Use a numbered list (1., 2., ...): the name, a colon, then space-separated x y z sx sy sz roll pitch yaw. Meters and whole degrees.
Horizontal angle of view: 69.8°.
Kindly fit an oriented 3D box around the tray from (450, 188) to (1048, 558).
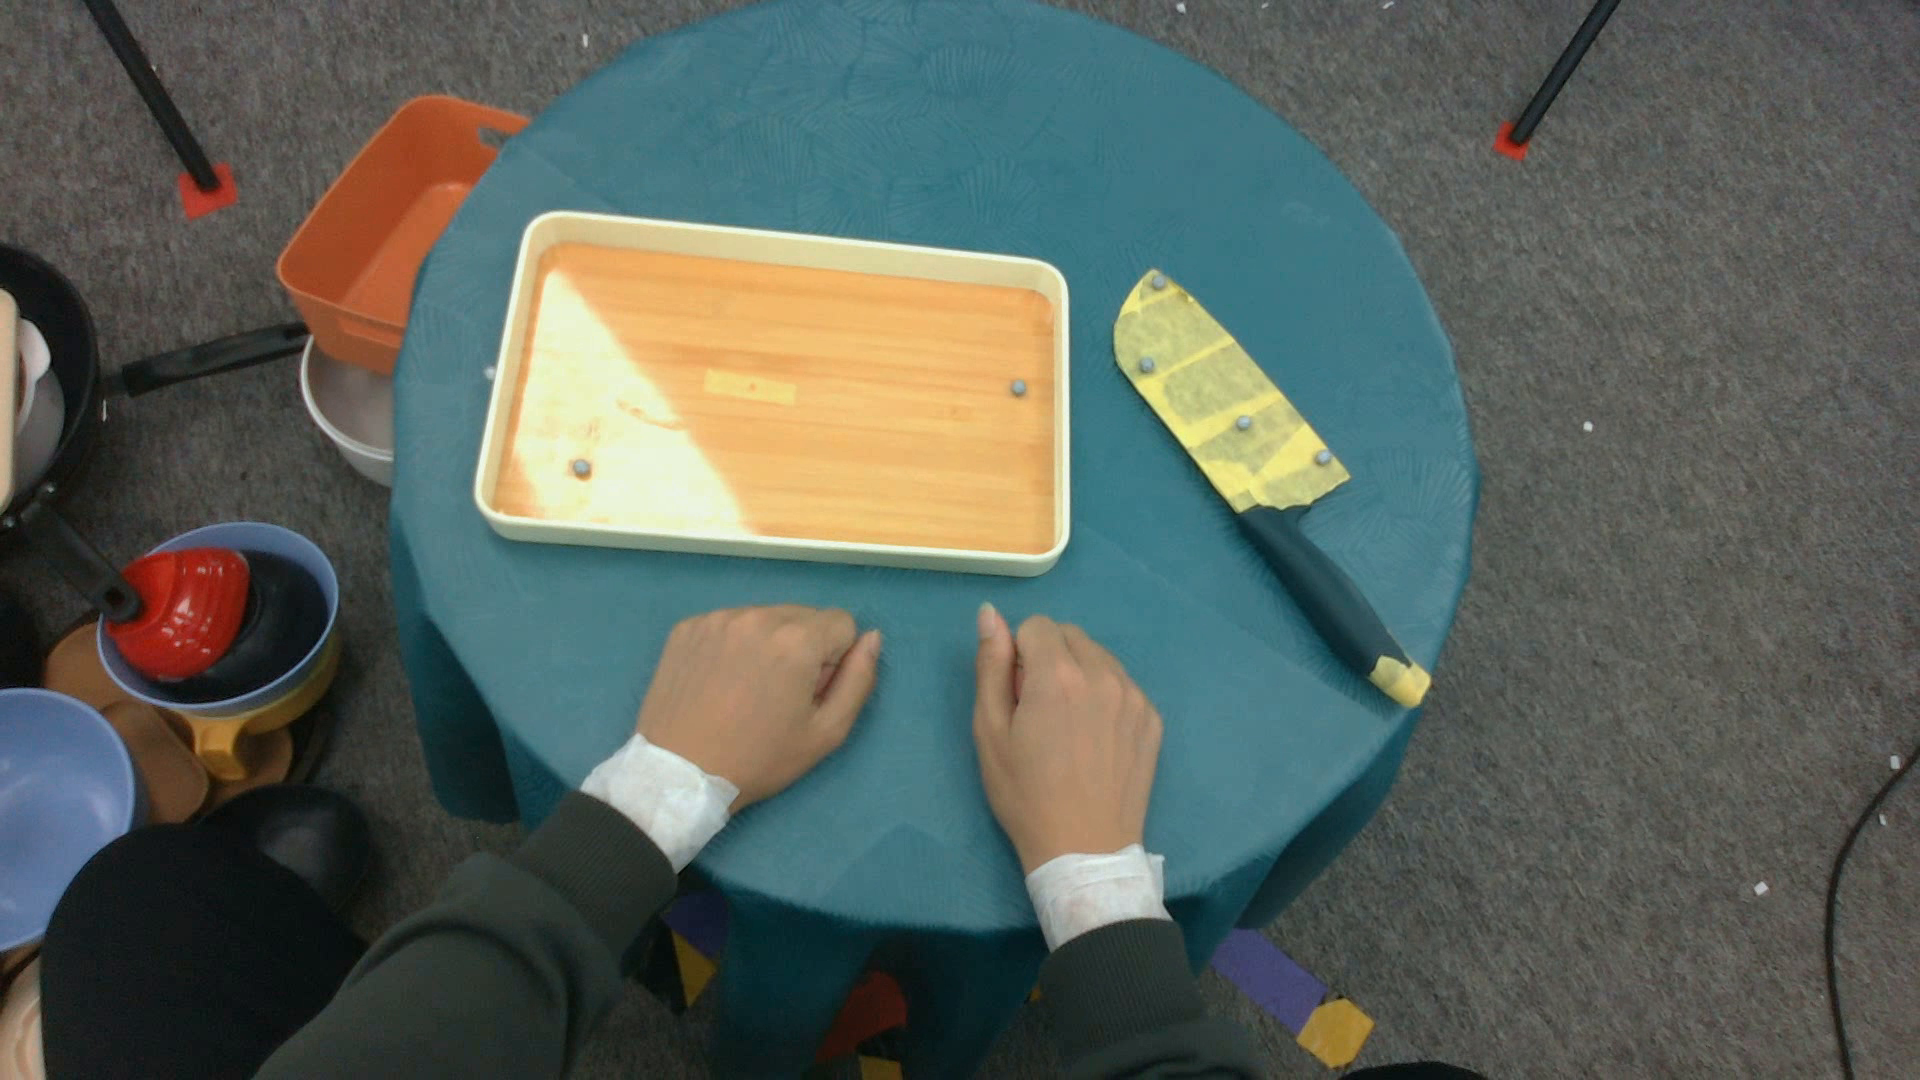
1. tray: -0.103 -0.090 0.736 0.300 0.027 0.192 4 67 -7

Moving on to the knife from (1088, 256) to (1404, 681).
1. knife: 0.161 -0.050 0.766 0.081 0.027 0.290 -27 72 -17
